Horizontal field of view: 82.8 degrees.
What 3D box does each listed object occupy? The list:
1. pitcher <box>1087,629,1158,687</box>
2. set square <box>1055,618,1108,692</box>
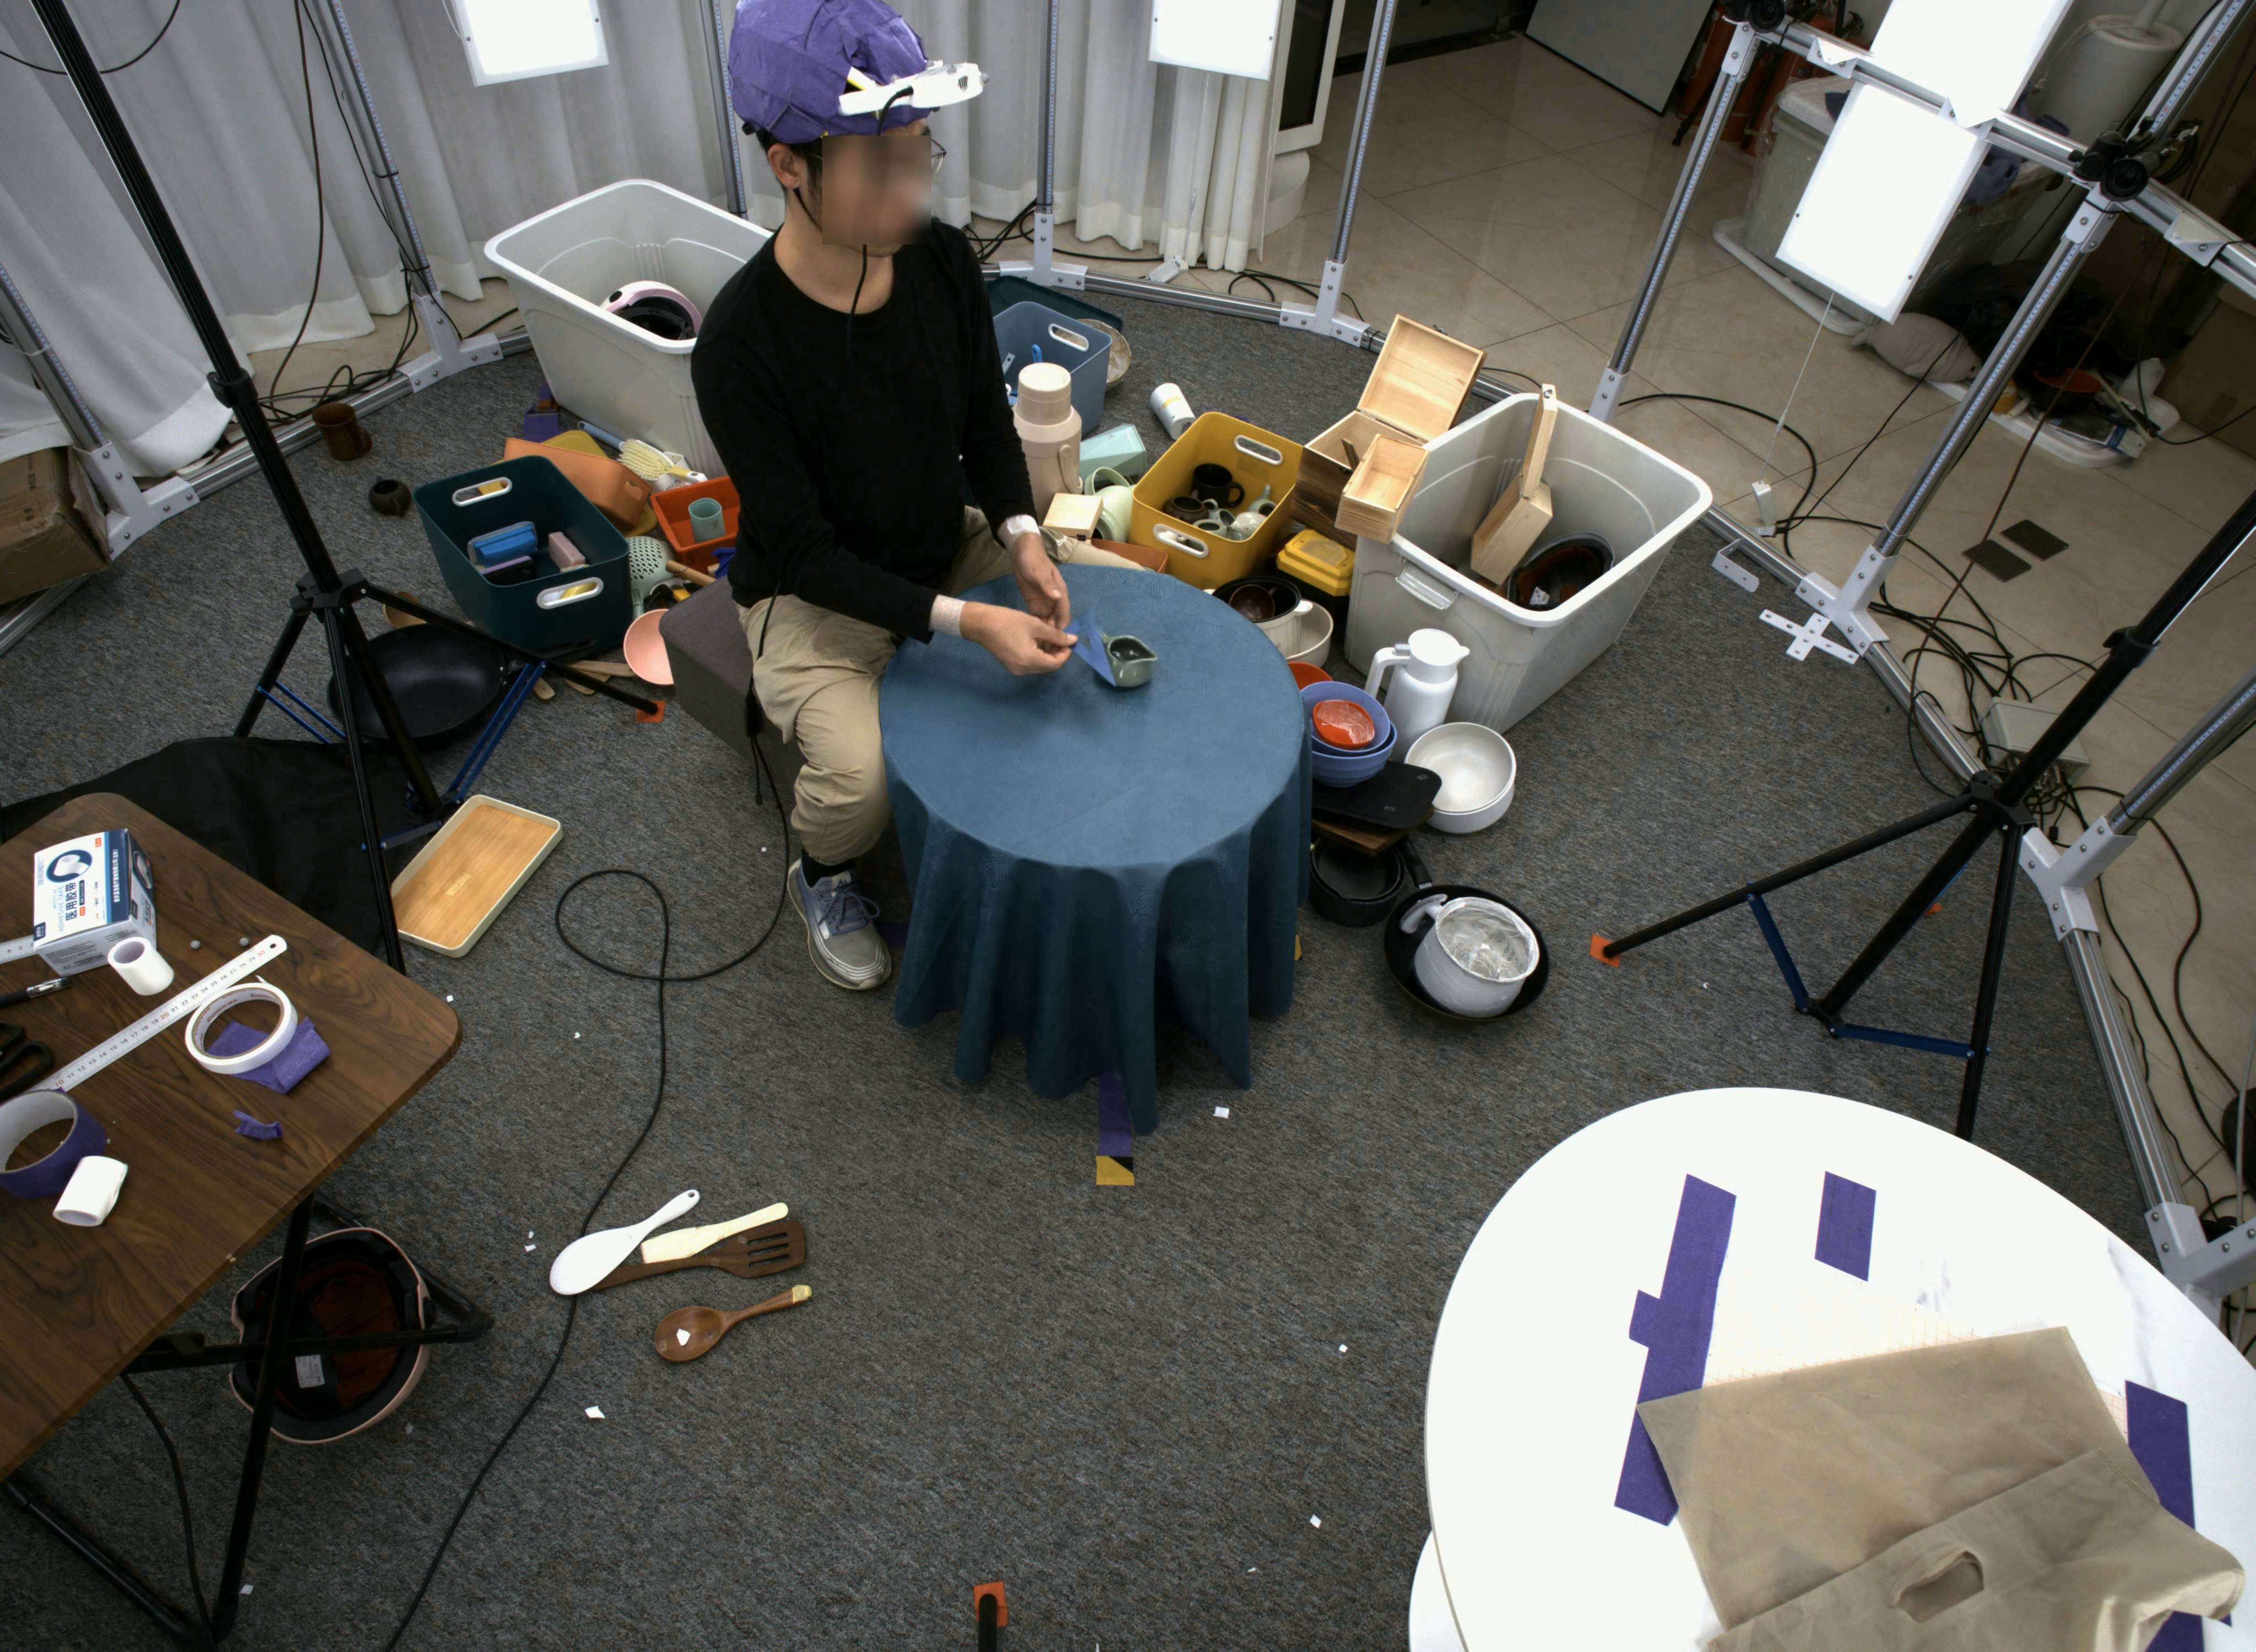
[{"bbox_3d":[-0.009,-0.243,1.843,0.113,0.055,0.085,25,49,17],"label":"pitcher"},{"bbox_3d":[-0.065,-0.237,1.775,0.061,0.006,0.135,-5,58,-10],"label":"set square"}]
